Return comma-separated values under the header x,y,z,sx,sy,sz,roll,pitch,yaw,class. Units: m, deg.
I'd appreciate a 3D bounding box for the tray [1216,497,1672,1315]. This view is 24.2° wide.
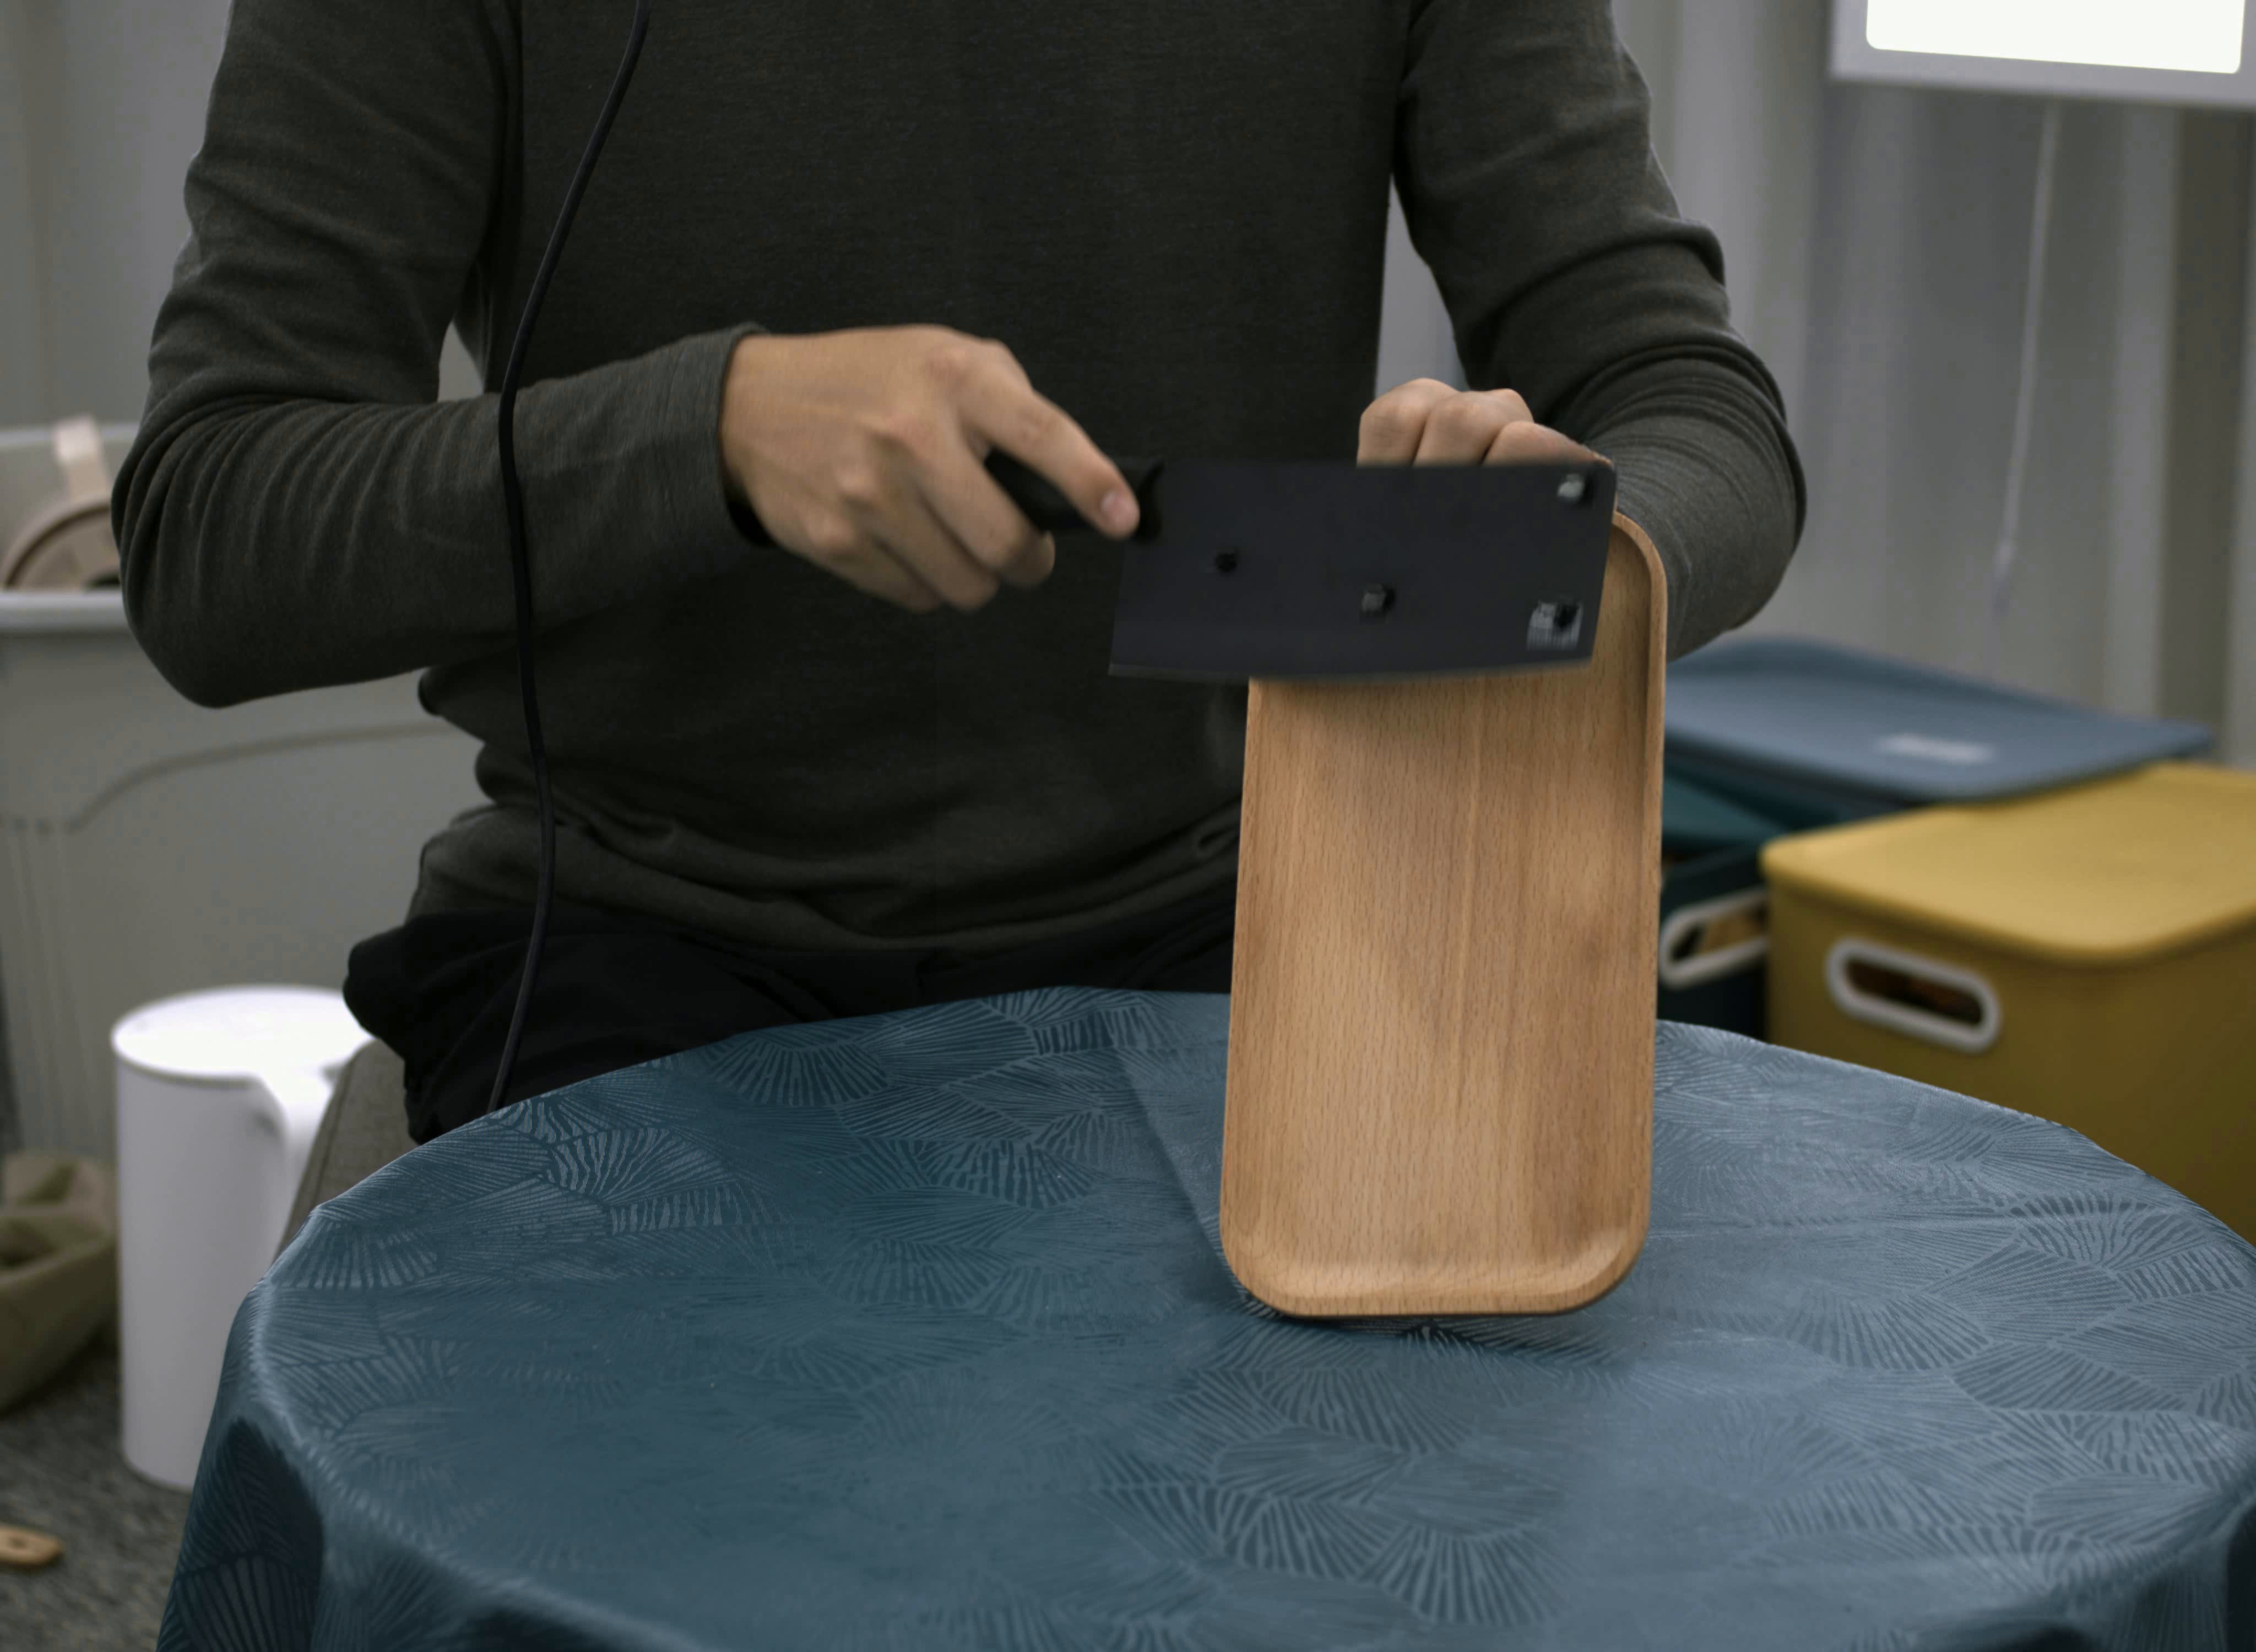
x,y,z,sx,sy,sz,roll,pitch,yaw,class
0.094,0.022,1.547,0.129,0.250,0.023,0,-20,14,tray

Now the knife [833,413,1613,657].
x,y,z,sx,sy,sz,roll,pitch,yaw,class
0.023,-0.090,1.600,0.298,0.081,0.021,7,-4,40,knife
